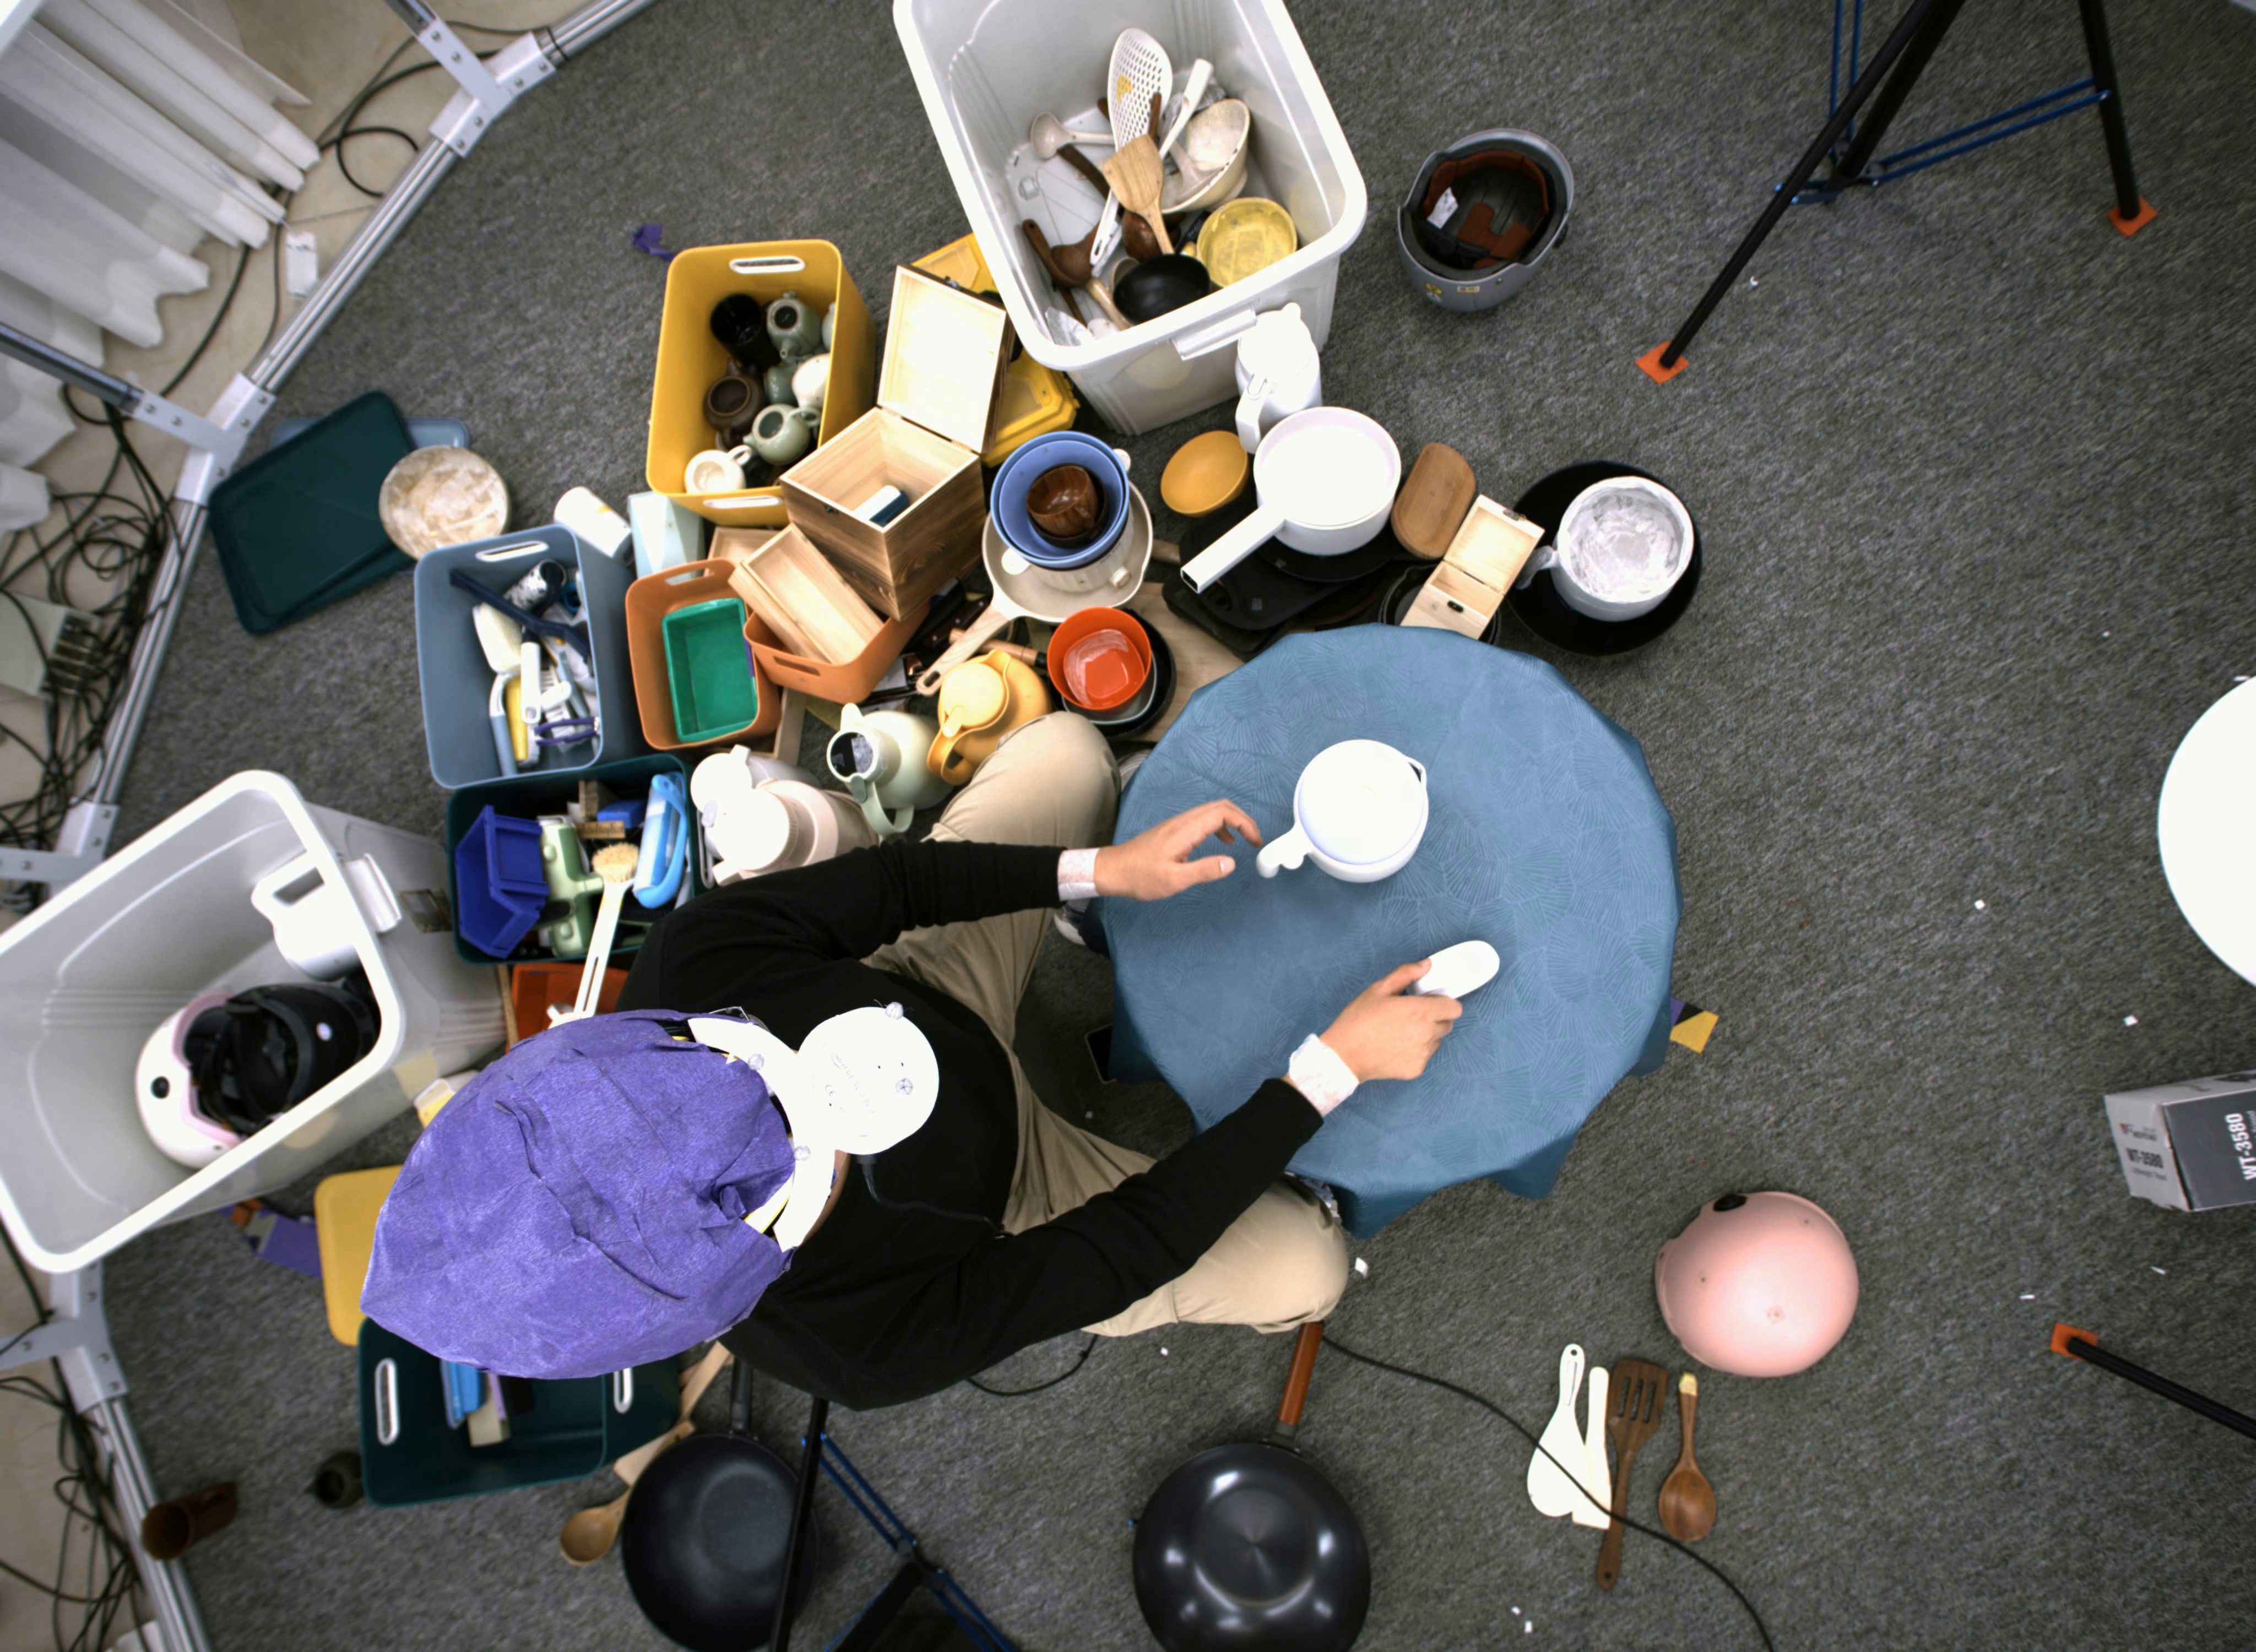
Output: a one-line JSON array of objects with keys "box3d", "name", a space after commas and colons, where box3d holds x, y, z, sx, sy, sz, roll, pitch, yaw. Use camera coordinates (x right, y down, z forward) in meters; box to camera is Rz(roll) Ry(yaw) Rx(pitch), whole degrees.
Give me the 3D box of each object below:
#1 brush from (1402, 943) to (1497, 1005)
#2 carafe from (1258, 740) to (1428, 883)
[{"box3d": [0.329, 0.150, 1.407, 0.100, 0.072, 0.050, -22, 81, 8], "name": "brush"}, {"box3d": [0.211, -0.001, 1.388, 0.192, 0.182, 0.131, -31, 80, 8], "name": "carafe"}]
